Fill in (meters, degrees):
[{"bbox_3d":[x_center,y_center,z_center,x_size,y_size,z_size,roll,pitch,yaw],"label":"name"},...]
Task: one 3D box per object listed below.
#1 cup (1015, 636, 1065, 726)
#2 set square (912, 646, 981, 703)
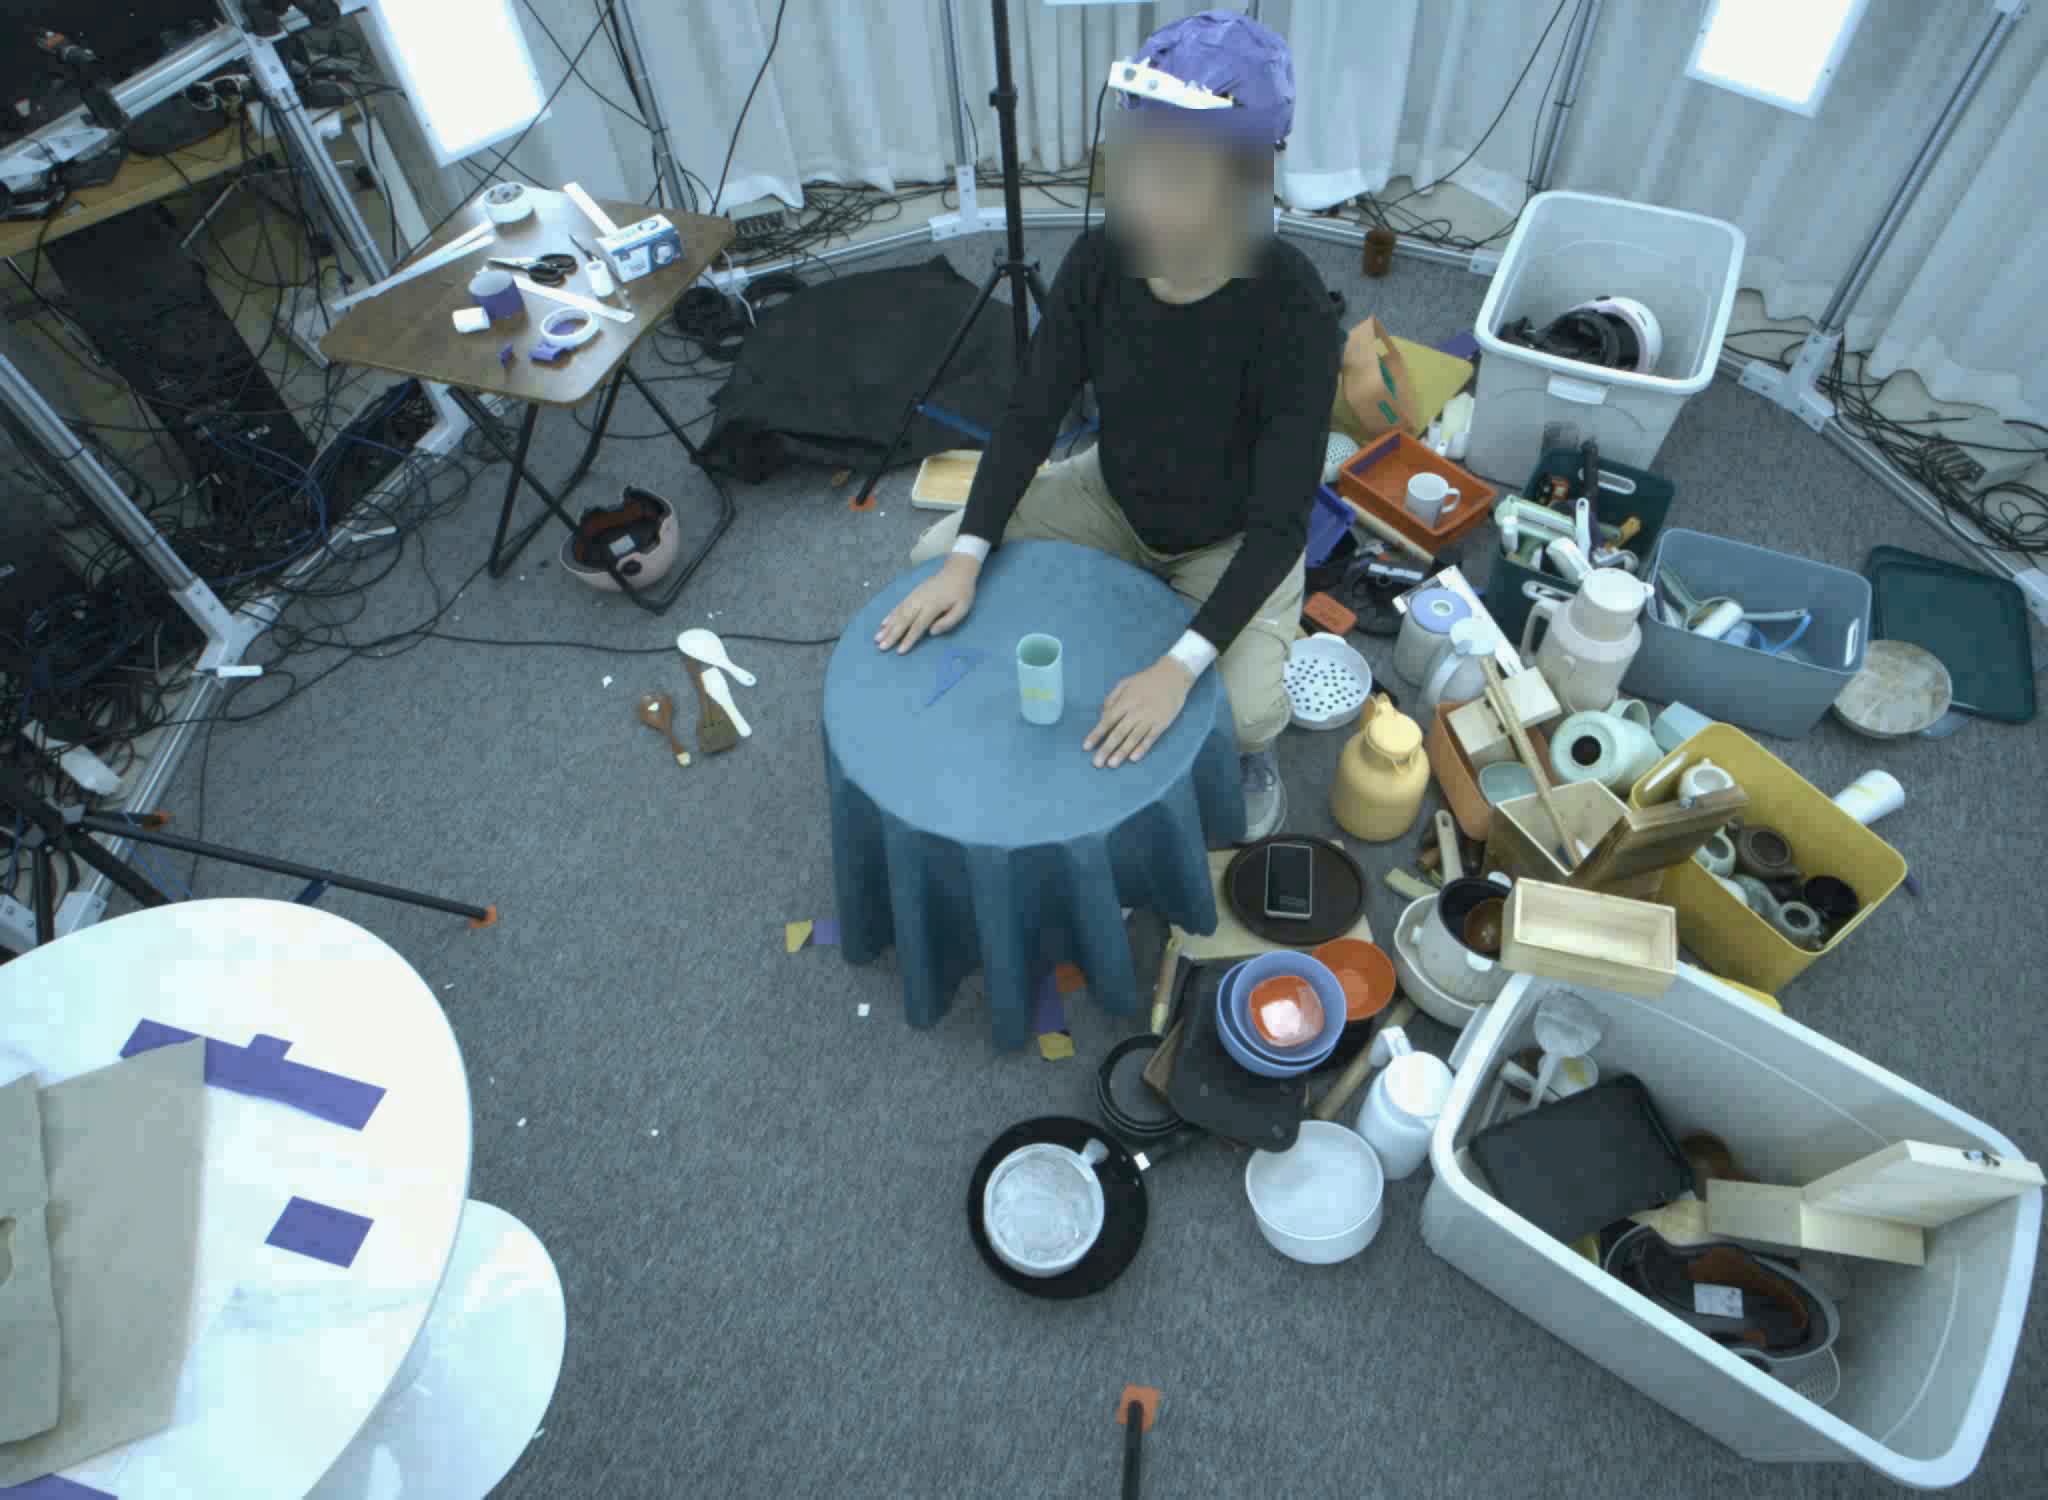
[{"bbox_3d":[0.025,-0.100,1.782,0.066,0.134,0.066,-2,55,3],"label":"cup"},{"bbox_3d":[-0.133,-0.123,1.877,0.133,0.006,0.060,-39,64,-22],"label":"set square"}]
